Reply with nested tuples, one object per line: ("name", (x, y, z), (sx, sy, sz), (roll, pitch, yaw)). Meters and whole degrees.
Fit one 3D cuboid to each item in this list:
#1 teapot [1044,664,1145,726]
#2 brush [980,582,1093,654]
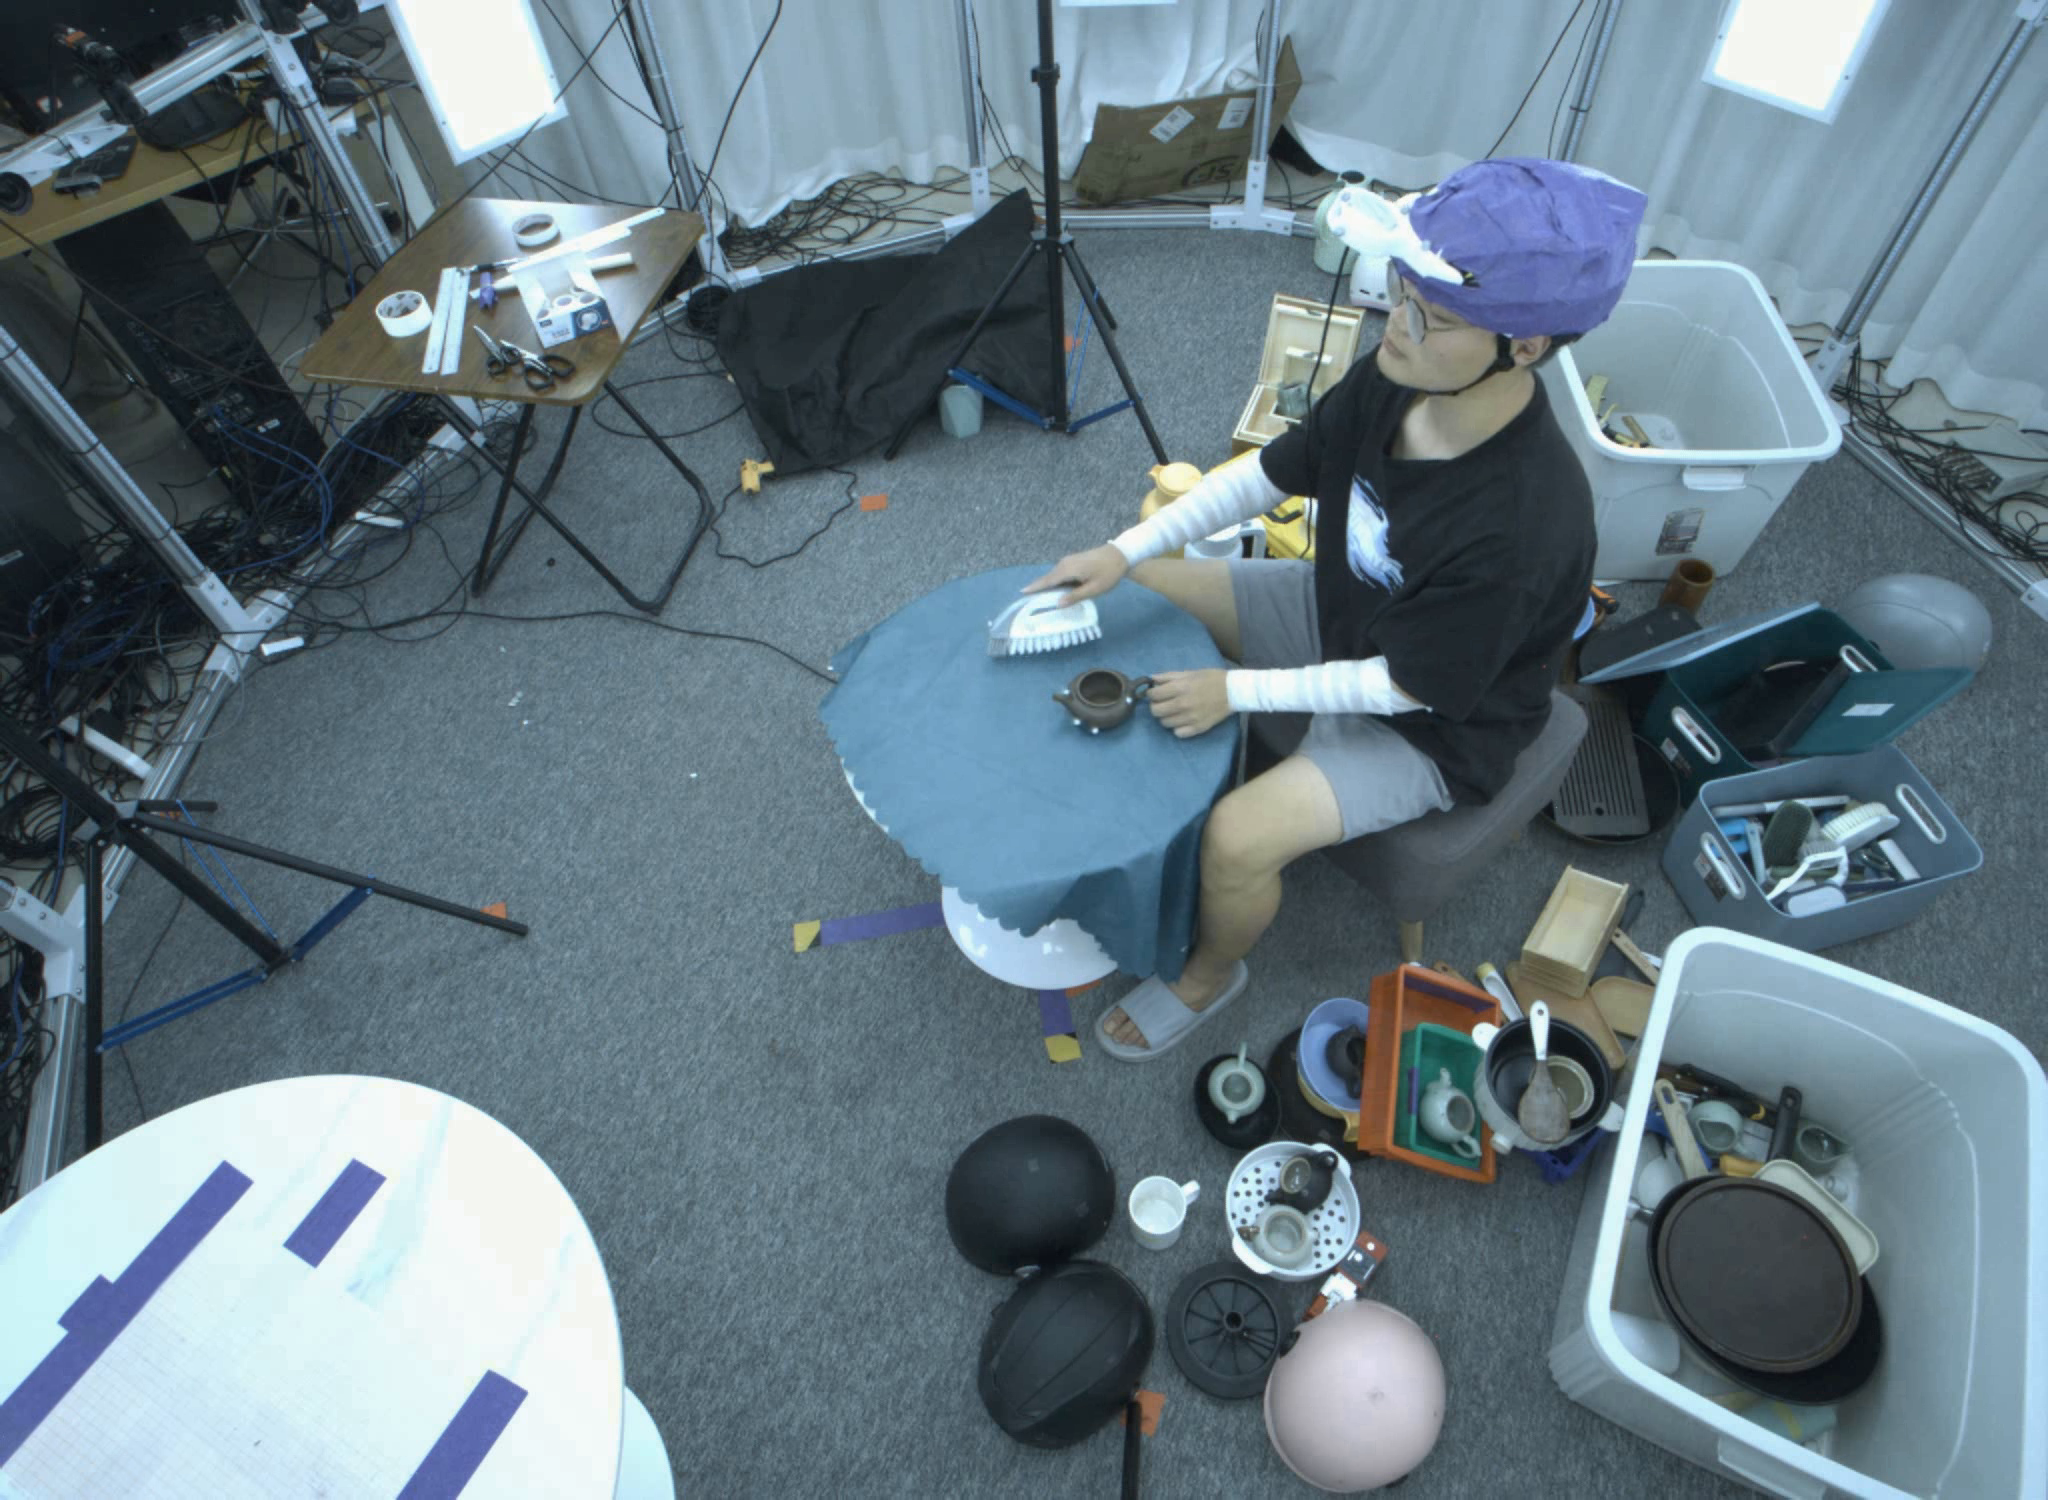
("teapot", (0.104, -0.083, 1.801), (0.154, 0.054, 0.101), (-18, 57, -10))
("brush", (0.012, -0.201, 1.857), (0.176, 0.095, 0.060), (-13, 33, -4))
